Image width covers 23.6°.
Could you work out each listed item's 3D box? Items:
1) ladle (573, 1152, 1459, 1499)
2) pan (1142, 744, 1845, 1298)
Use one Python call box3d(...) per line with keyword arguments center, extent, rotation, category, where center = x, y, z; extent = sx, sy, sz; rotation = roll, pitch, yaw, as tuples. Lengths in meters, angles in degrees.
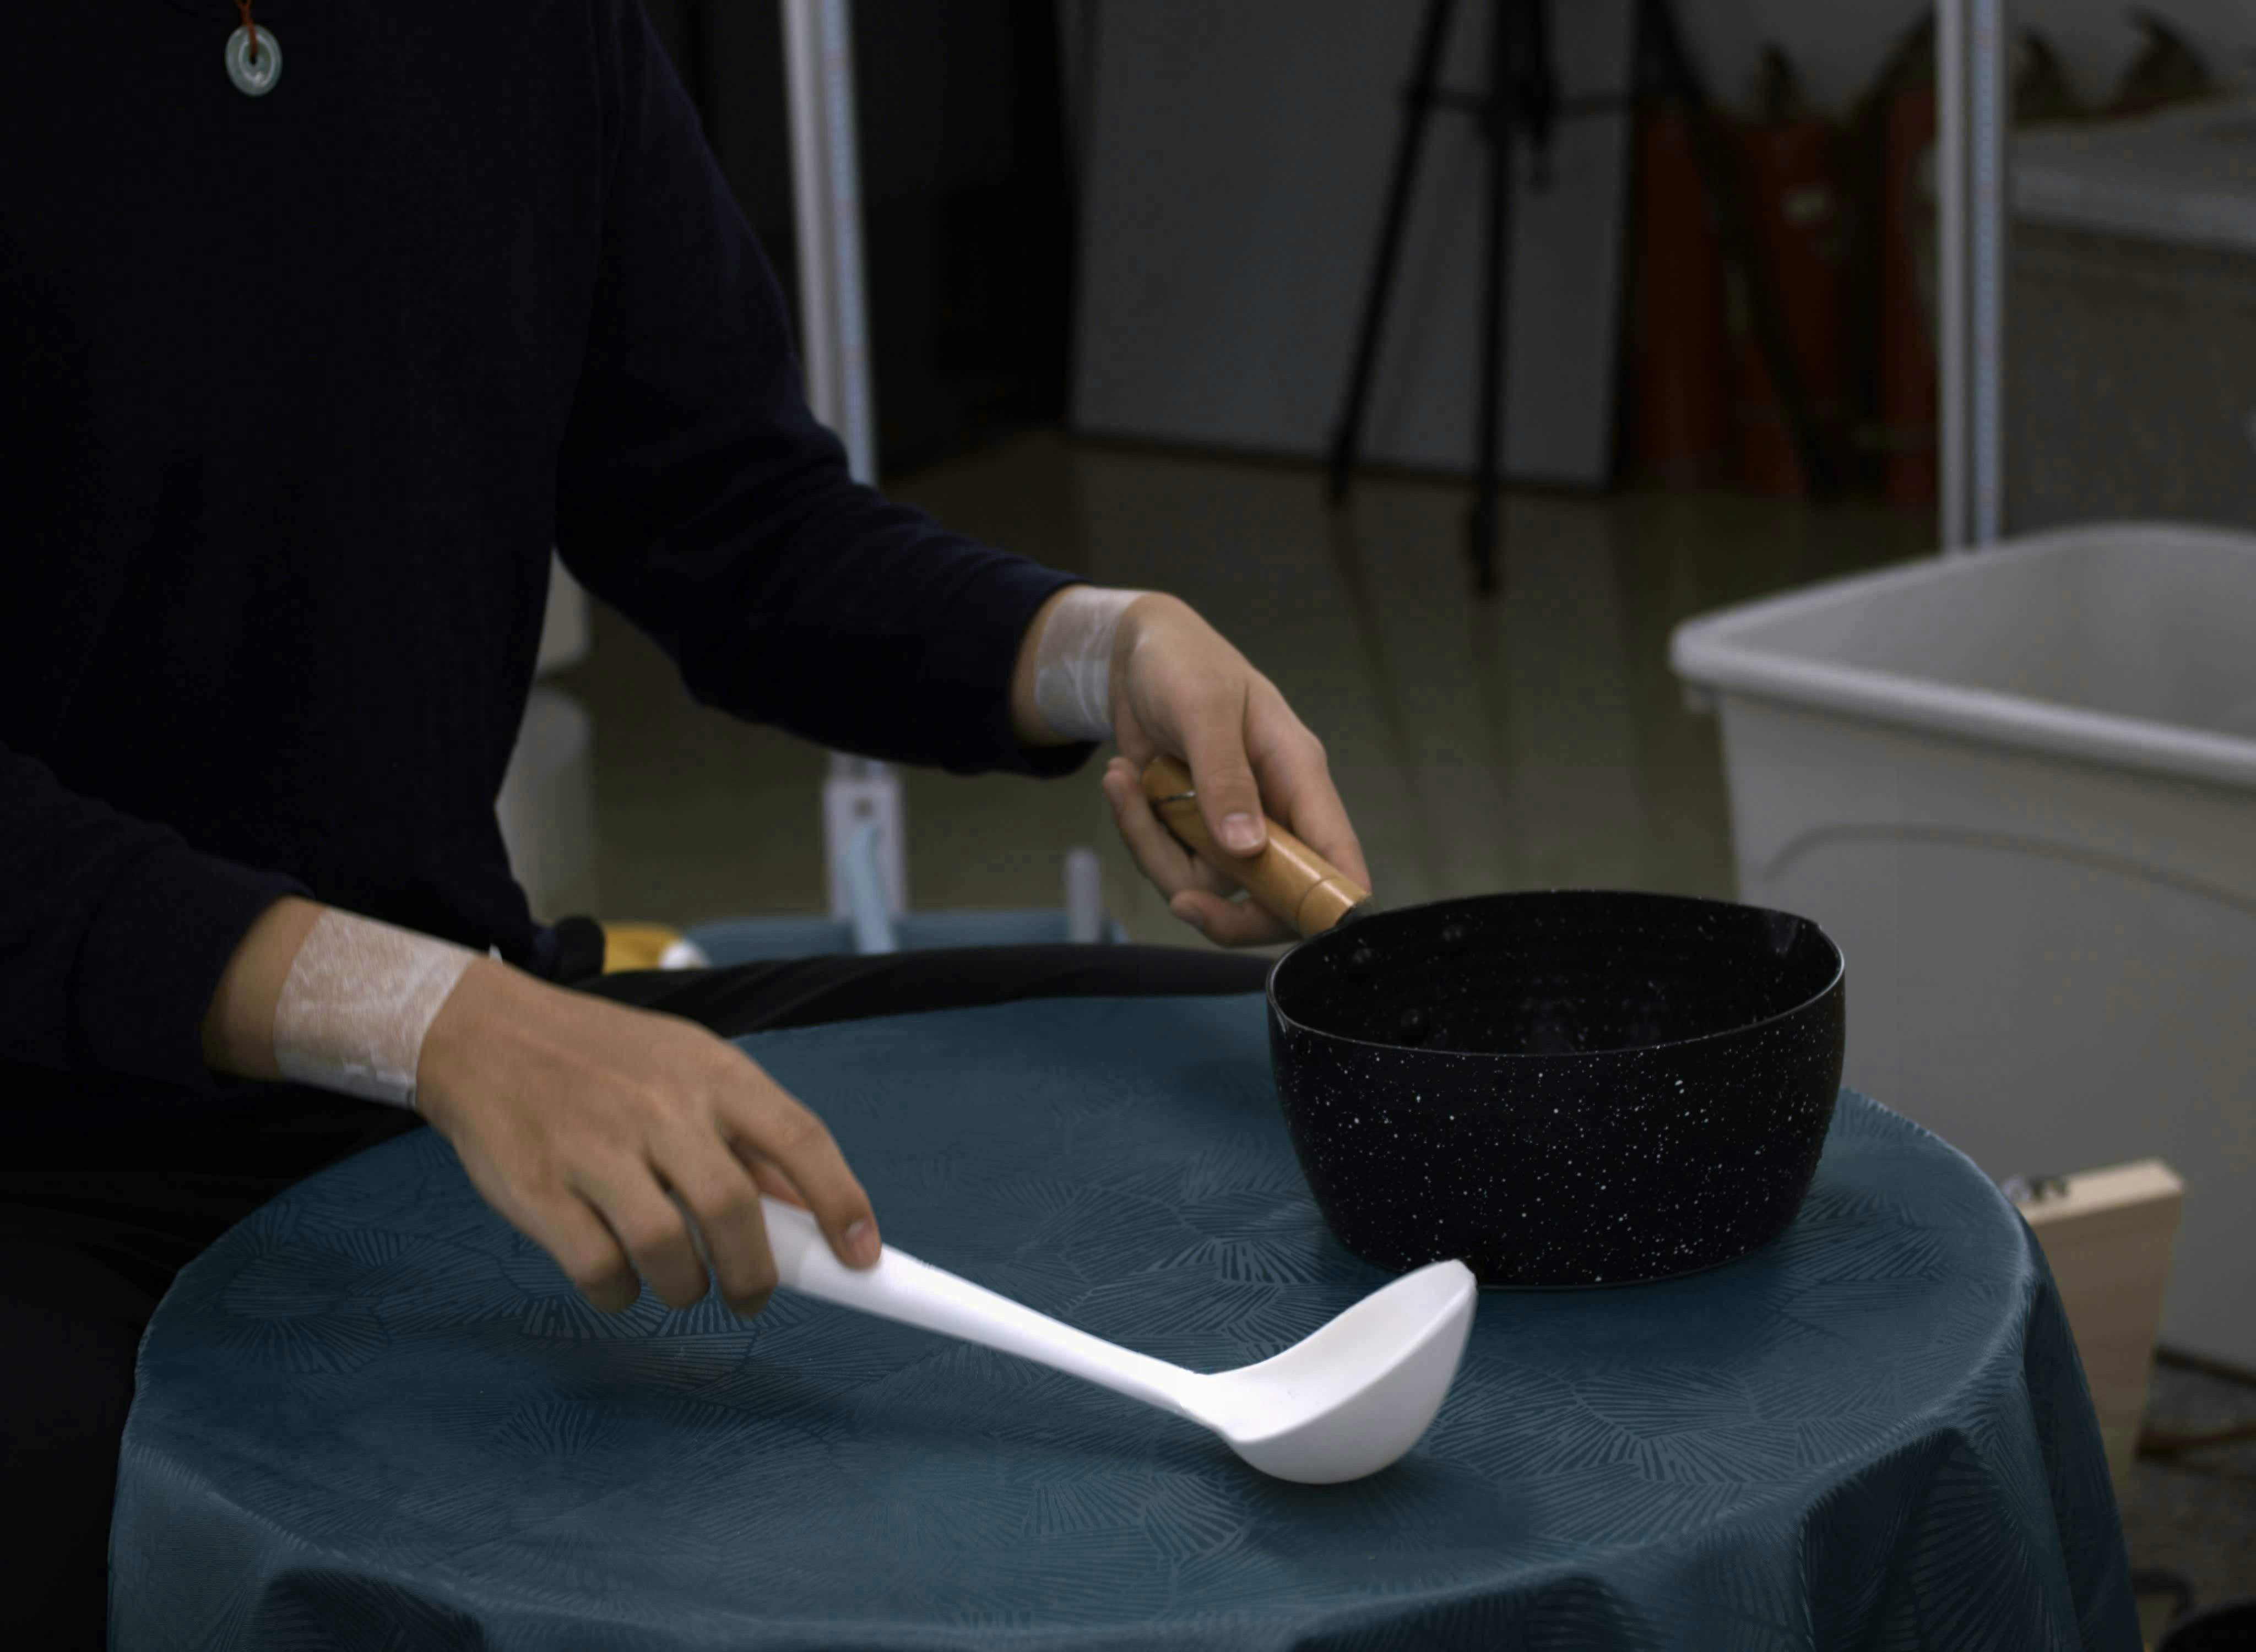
box3d(center=(-0.038, 0.130, 1.547), extent=(0.294, 0.070, 0.089), rotation=(15, 42, 29), category="ladle")
box3d(center=(0.096, 0.058, 1.770), extent=(0.203, 0.109, 0.346), rotation=(-12, 18, -28), category="pan")
